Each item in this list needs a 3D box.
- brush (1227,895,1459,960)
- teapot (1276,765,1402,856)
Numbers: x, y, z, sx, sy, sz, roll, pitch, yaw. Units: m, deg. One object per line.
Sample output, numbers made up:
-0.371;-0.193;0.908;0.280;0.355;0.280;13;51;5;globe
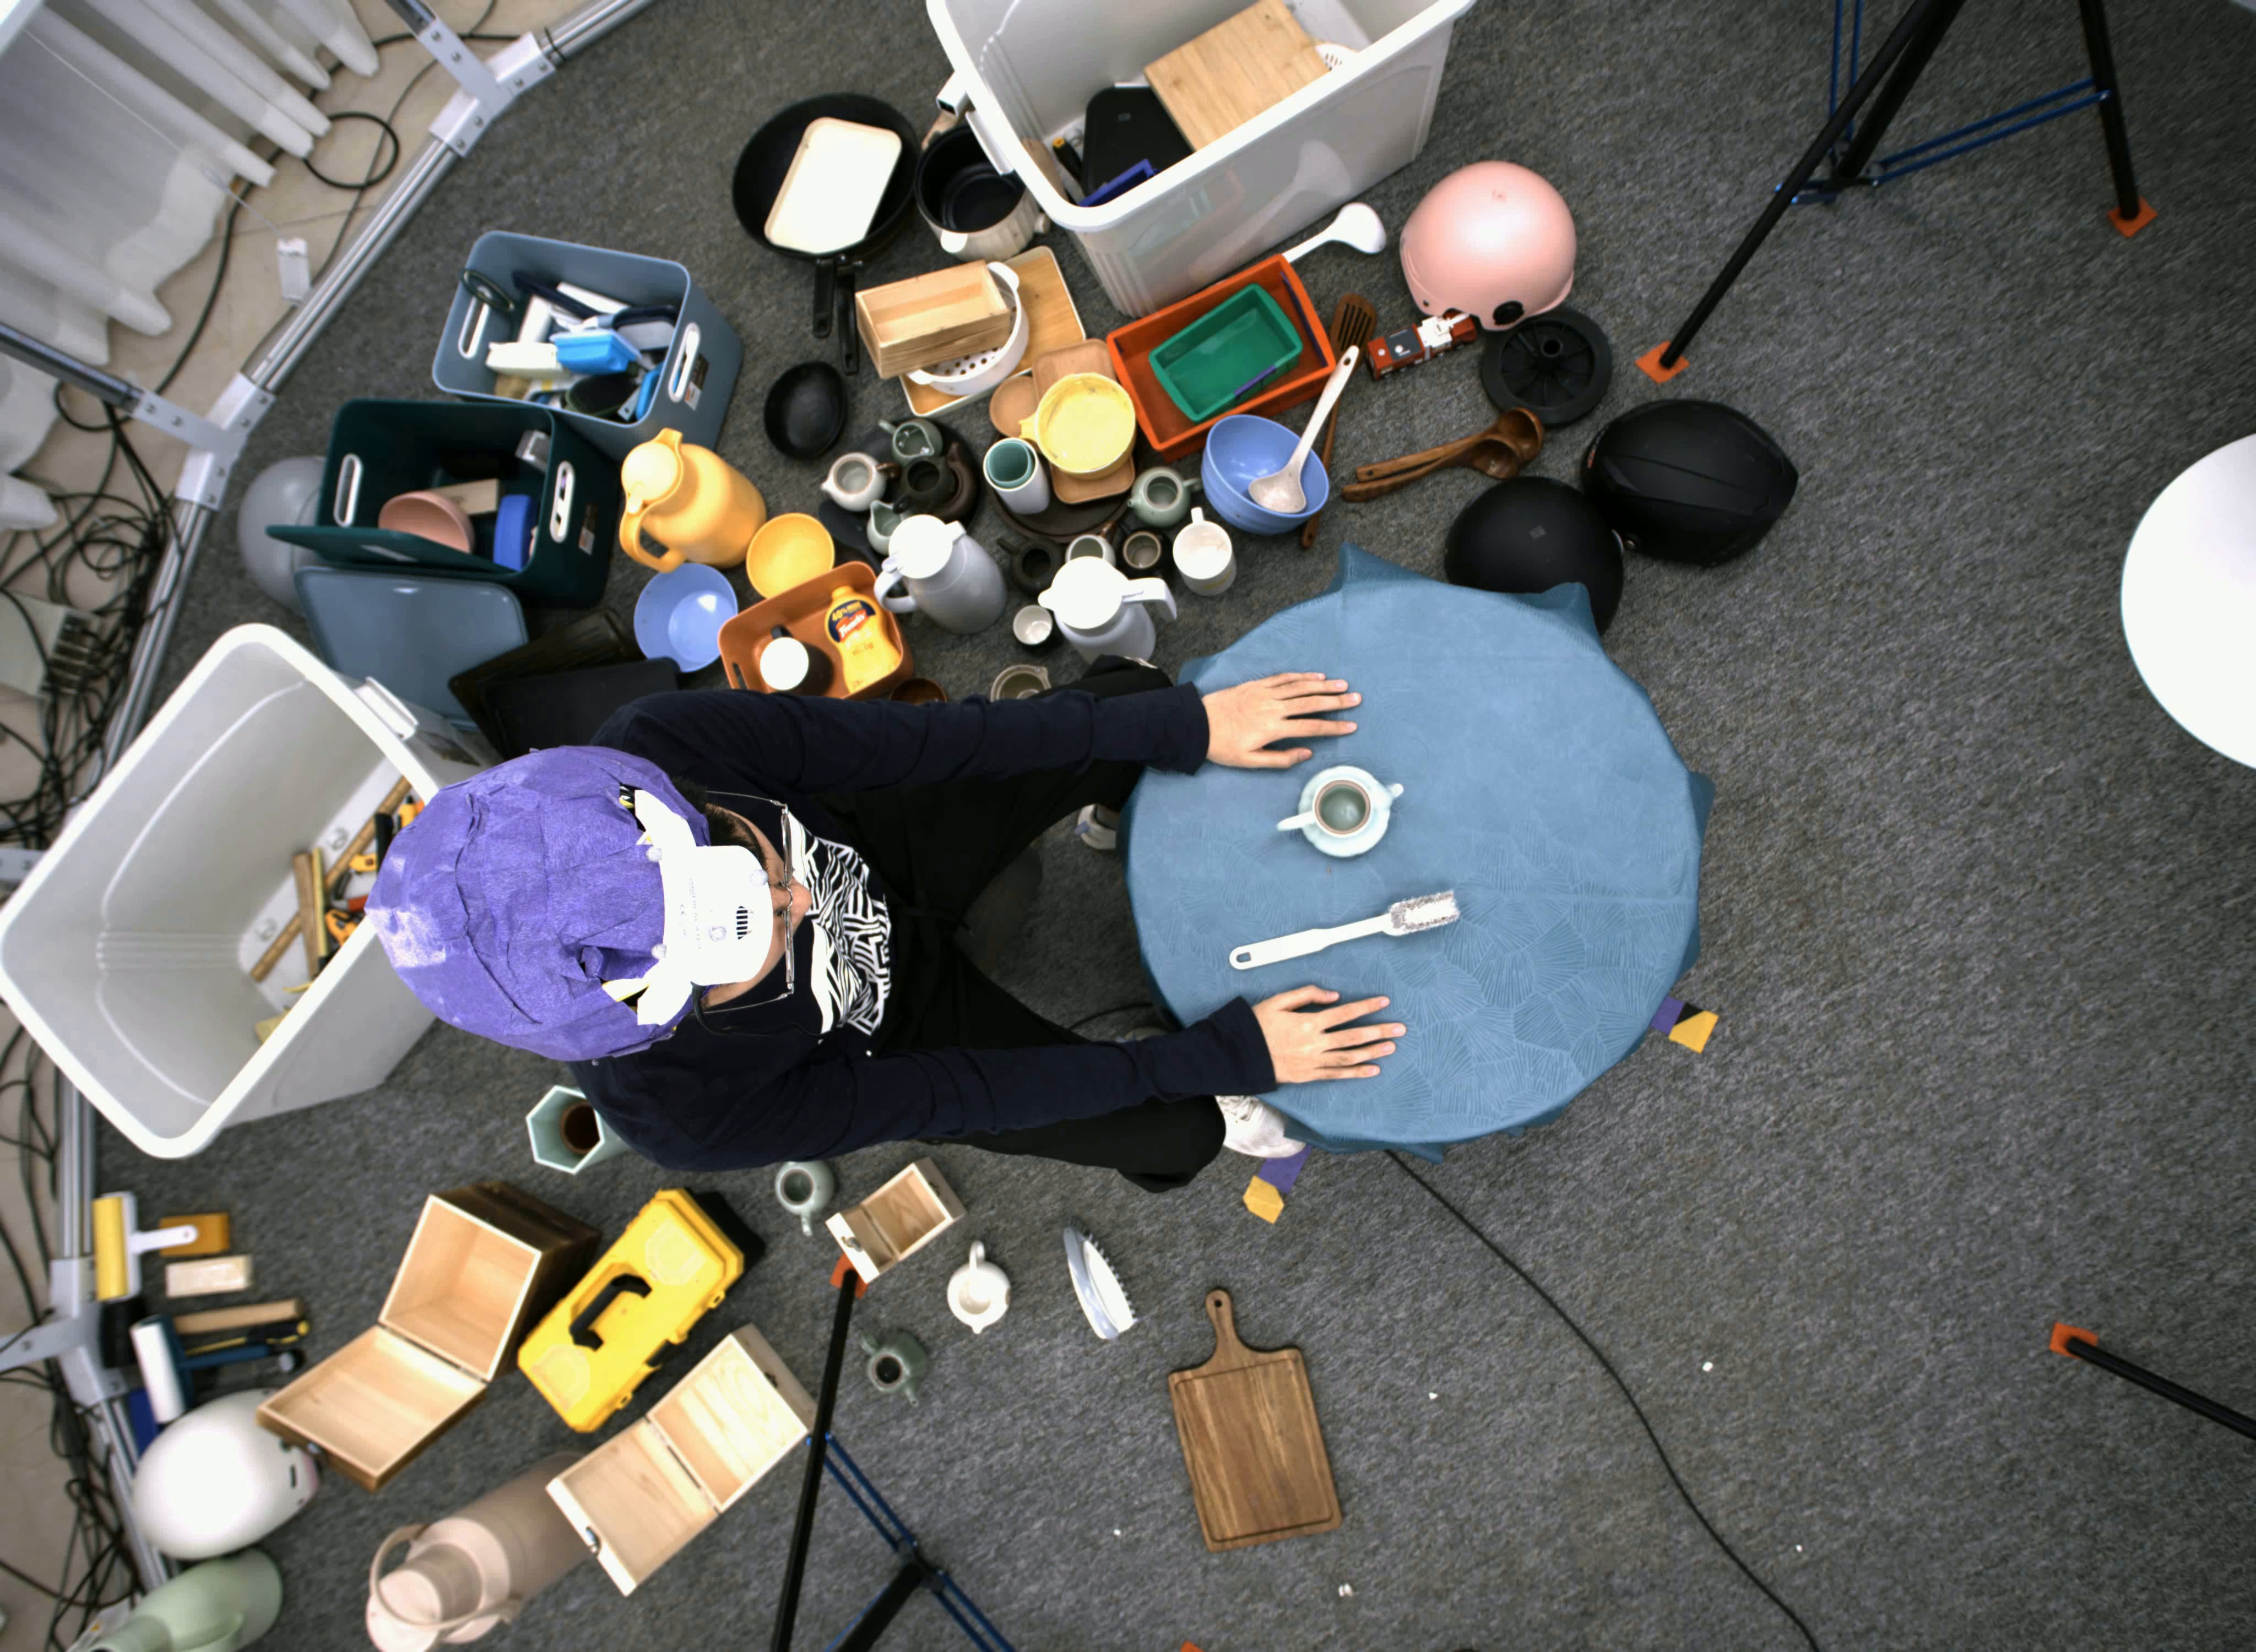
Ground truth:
0.221;0.107;1.442;0.245;0.050;0.034;-12;87;10;brush
0.220;-0.017;1.442;0.137;0.061;0.096;-20;86;8;teapot
